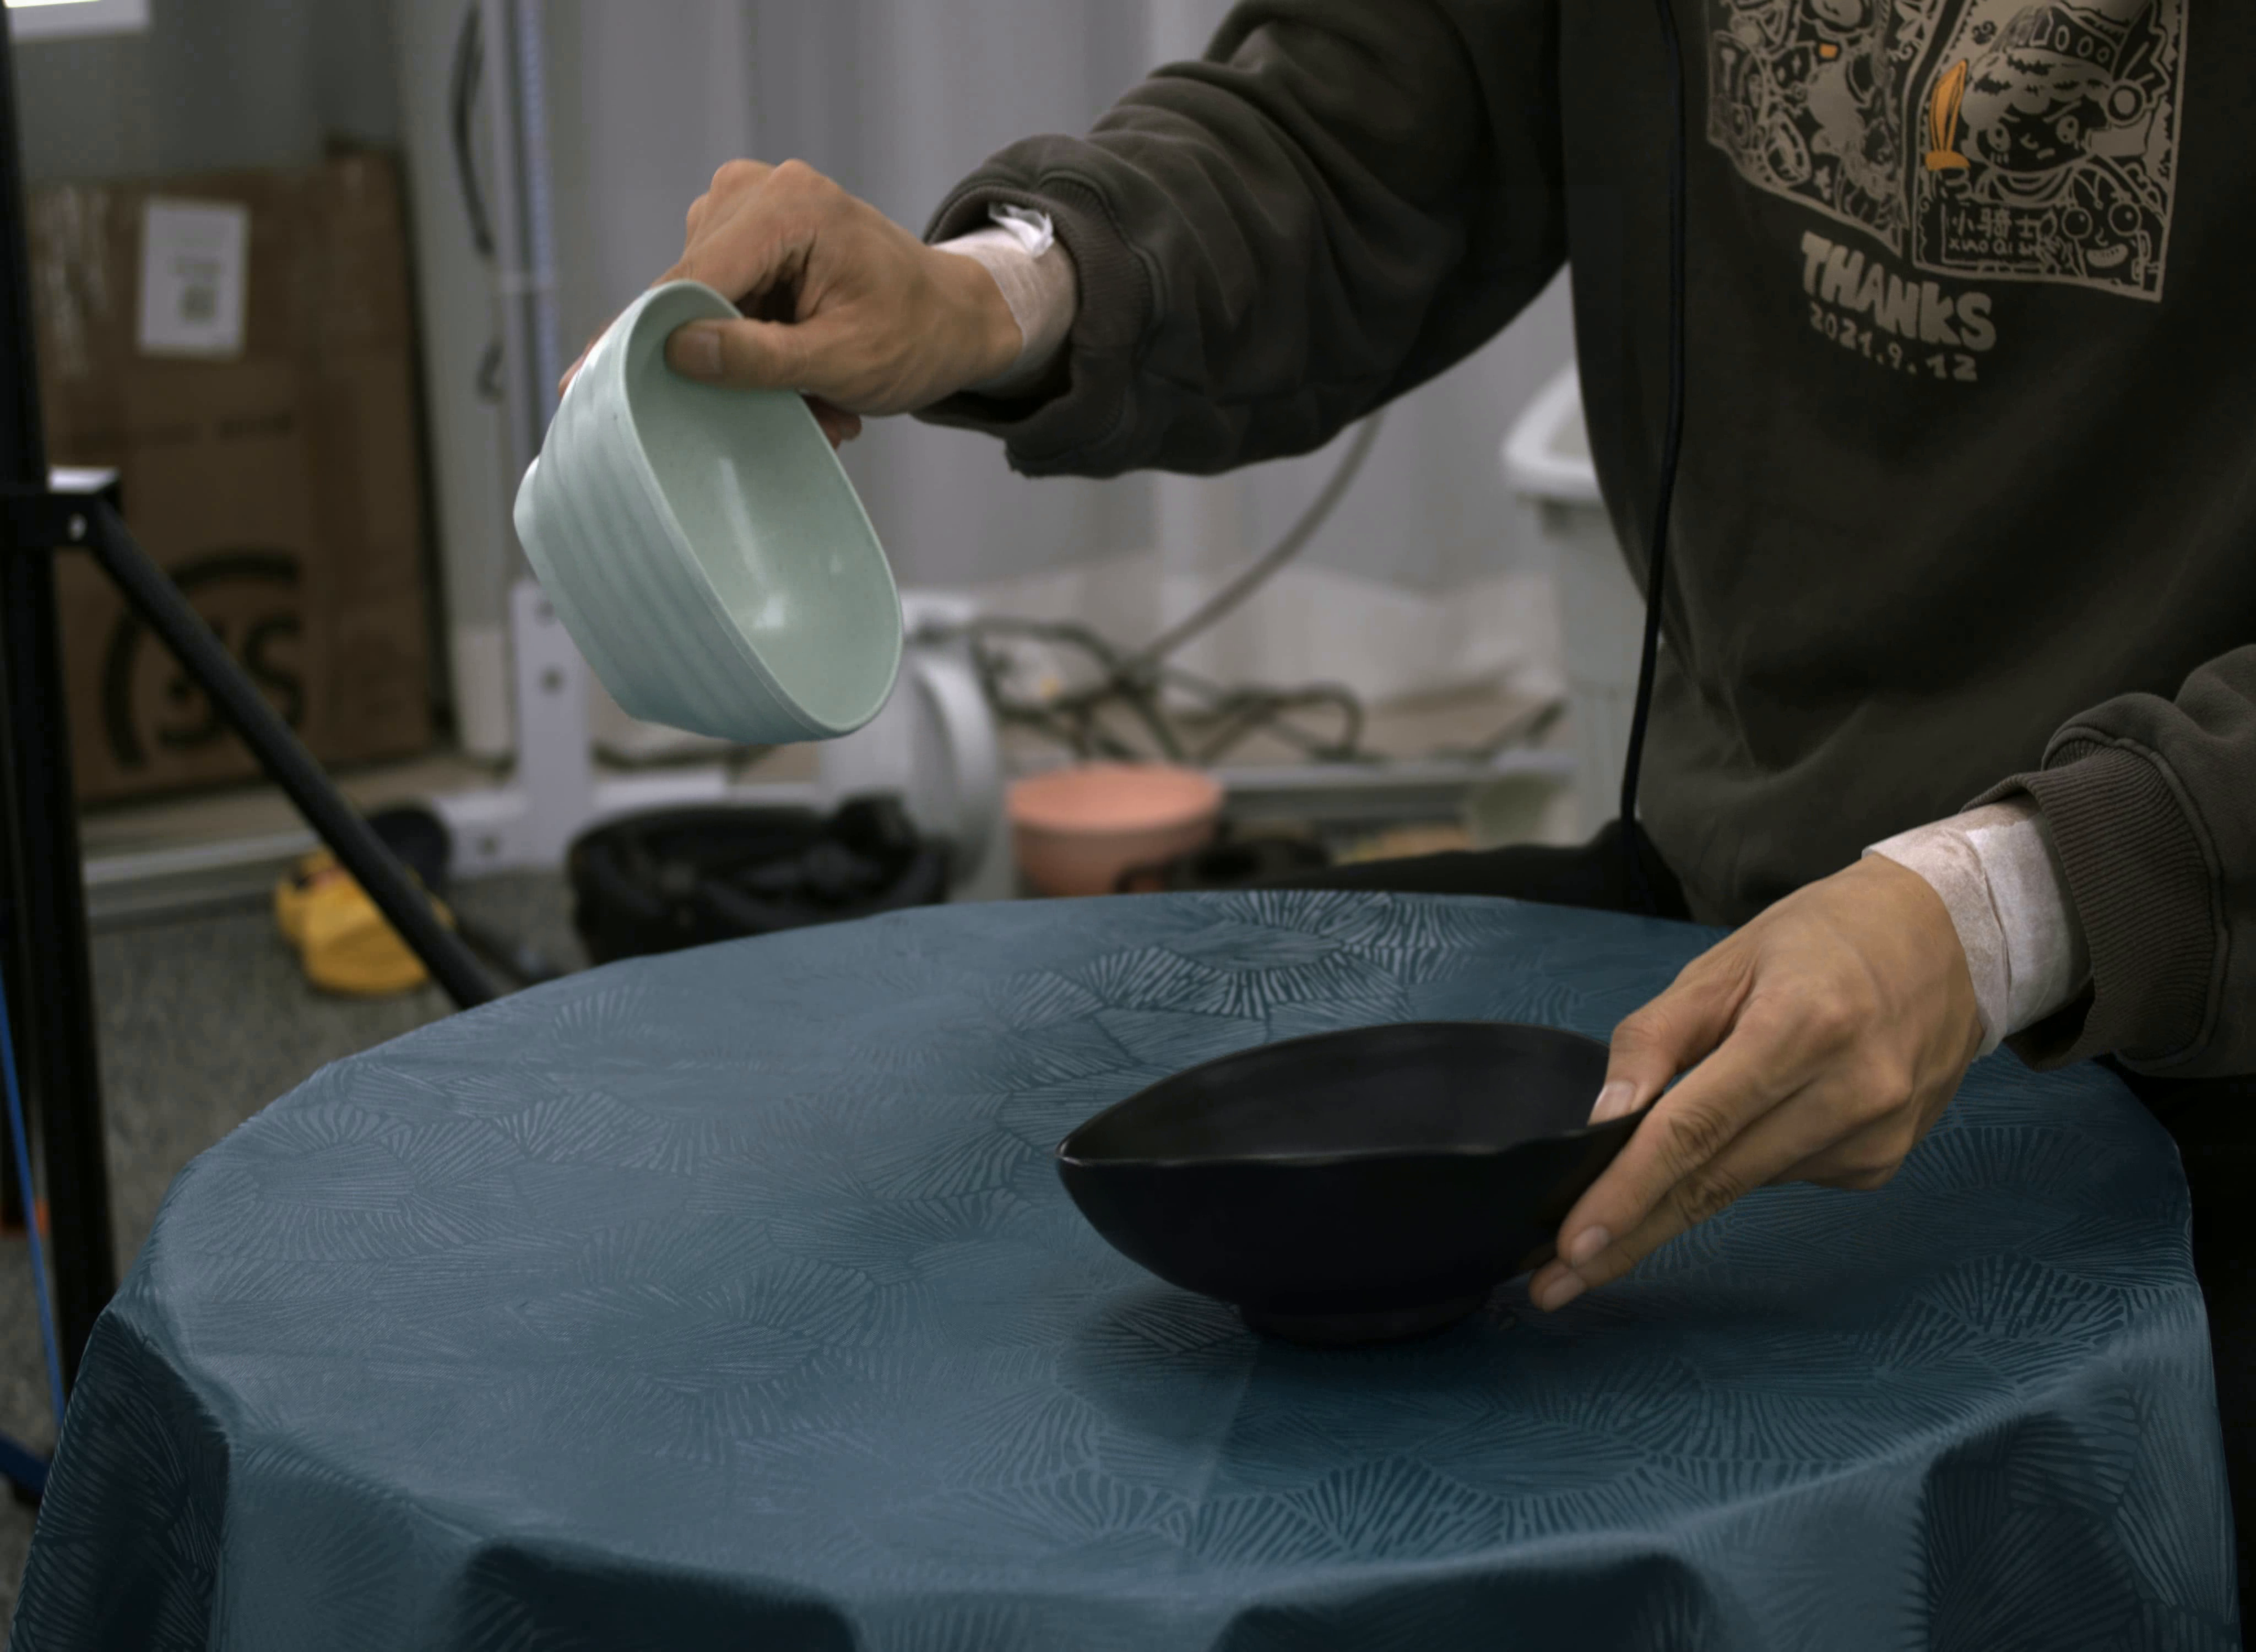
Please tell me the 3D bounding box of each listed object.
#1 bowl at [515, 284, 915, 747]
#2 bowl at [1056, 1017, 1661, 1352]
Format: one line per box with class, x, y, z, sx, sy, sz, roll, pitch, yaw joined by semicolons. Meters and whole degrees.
bowl;-0.128;-0.081;1.564;0.059;0.151;0.150;-27;6;22
bowl;0.063;0.103;1.445;0.172;0.067;0.136;-3;13;17
